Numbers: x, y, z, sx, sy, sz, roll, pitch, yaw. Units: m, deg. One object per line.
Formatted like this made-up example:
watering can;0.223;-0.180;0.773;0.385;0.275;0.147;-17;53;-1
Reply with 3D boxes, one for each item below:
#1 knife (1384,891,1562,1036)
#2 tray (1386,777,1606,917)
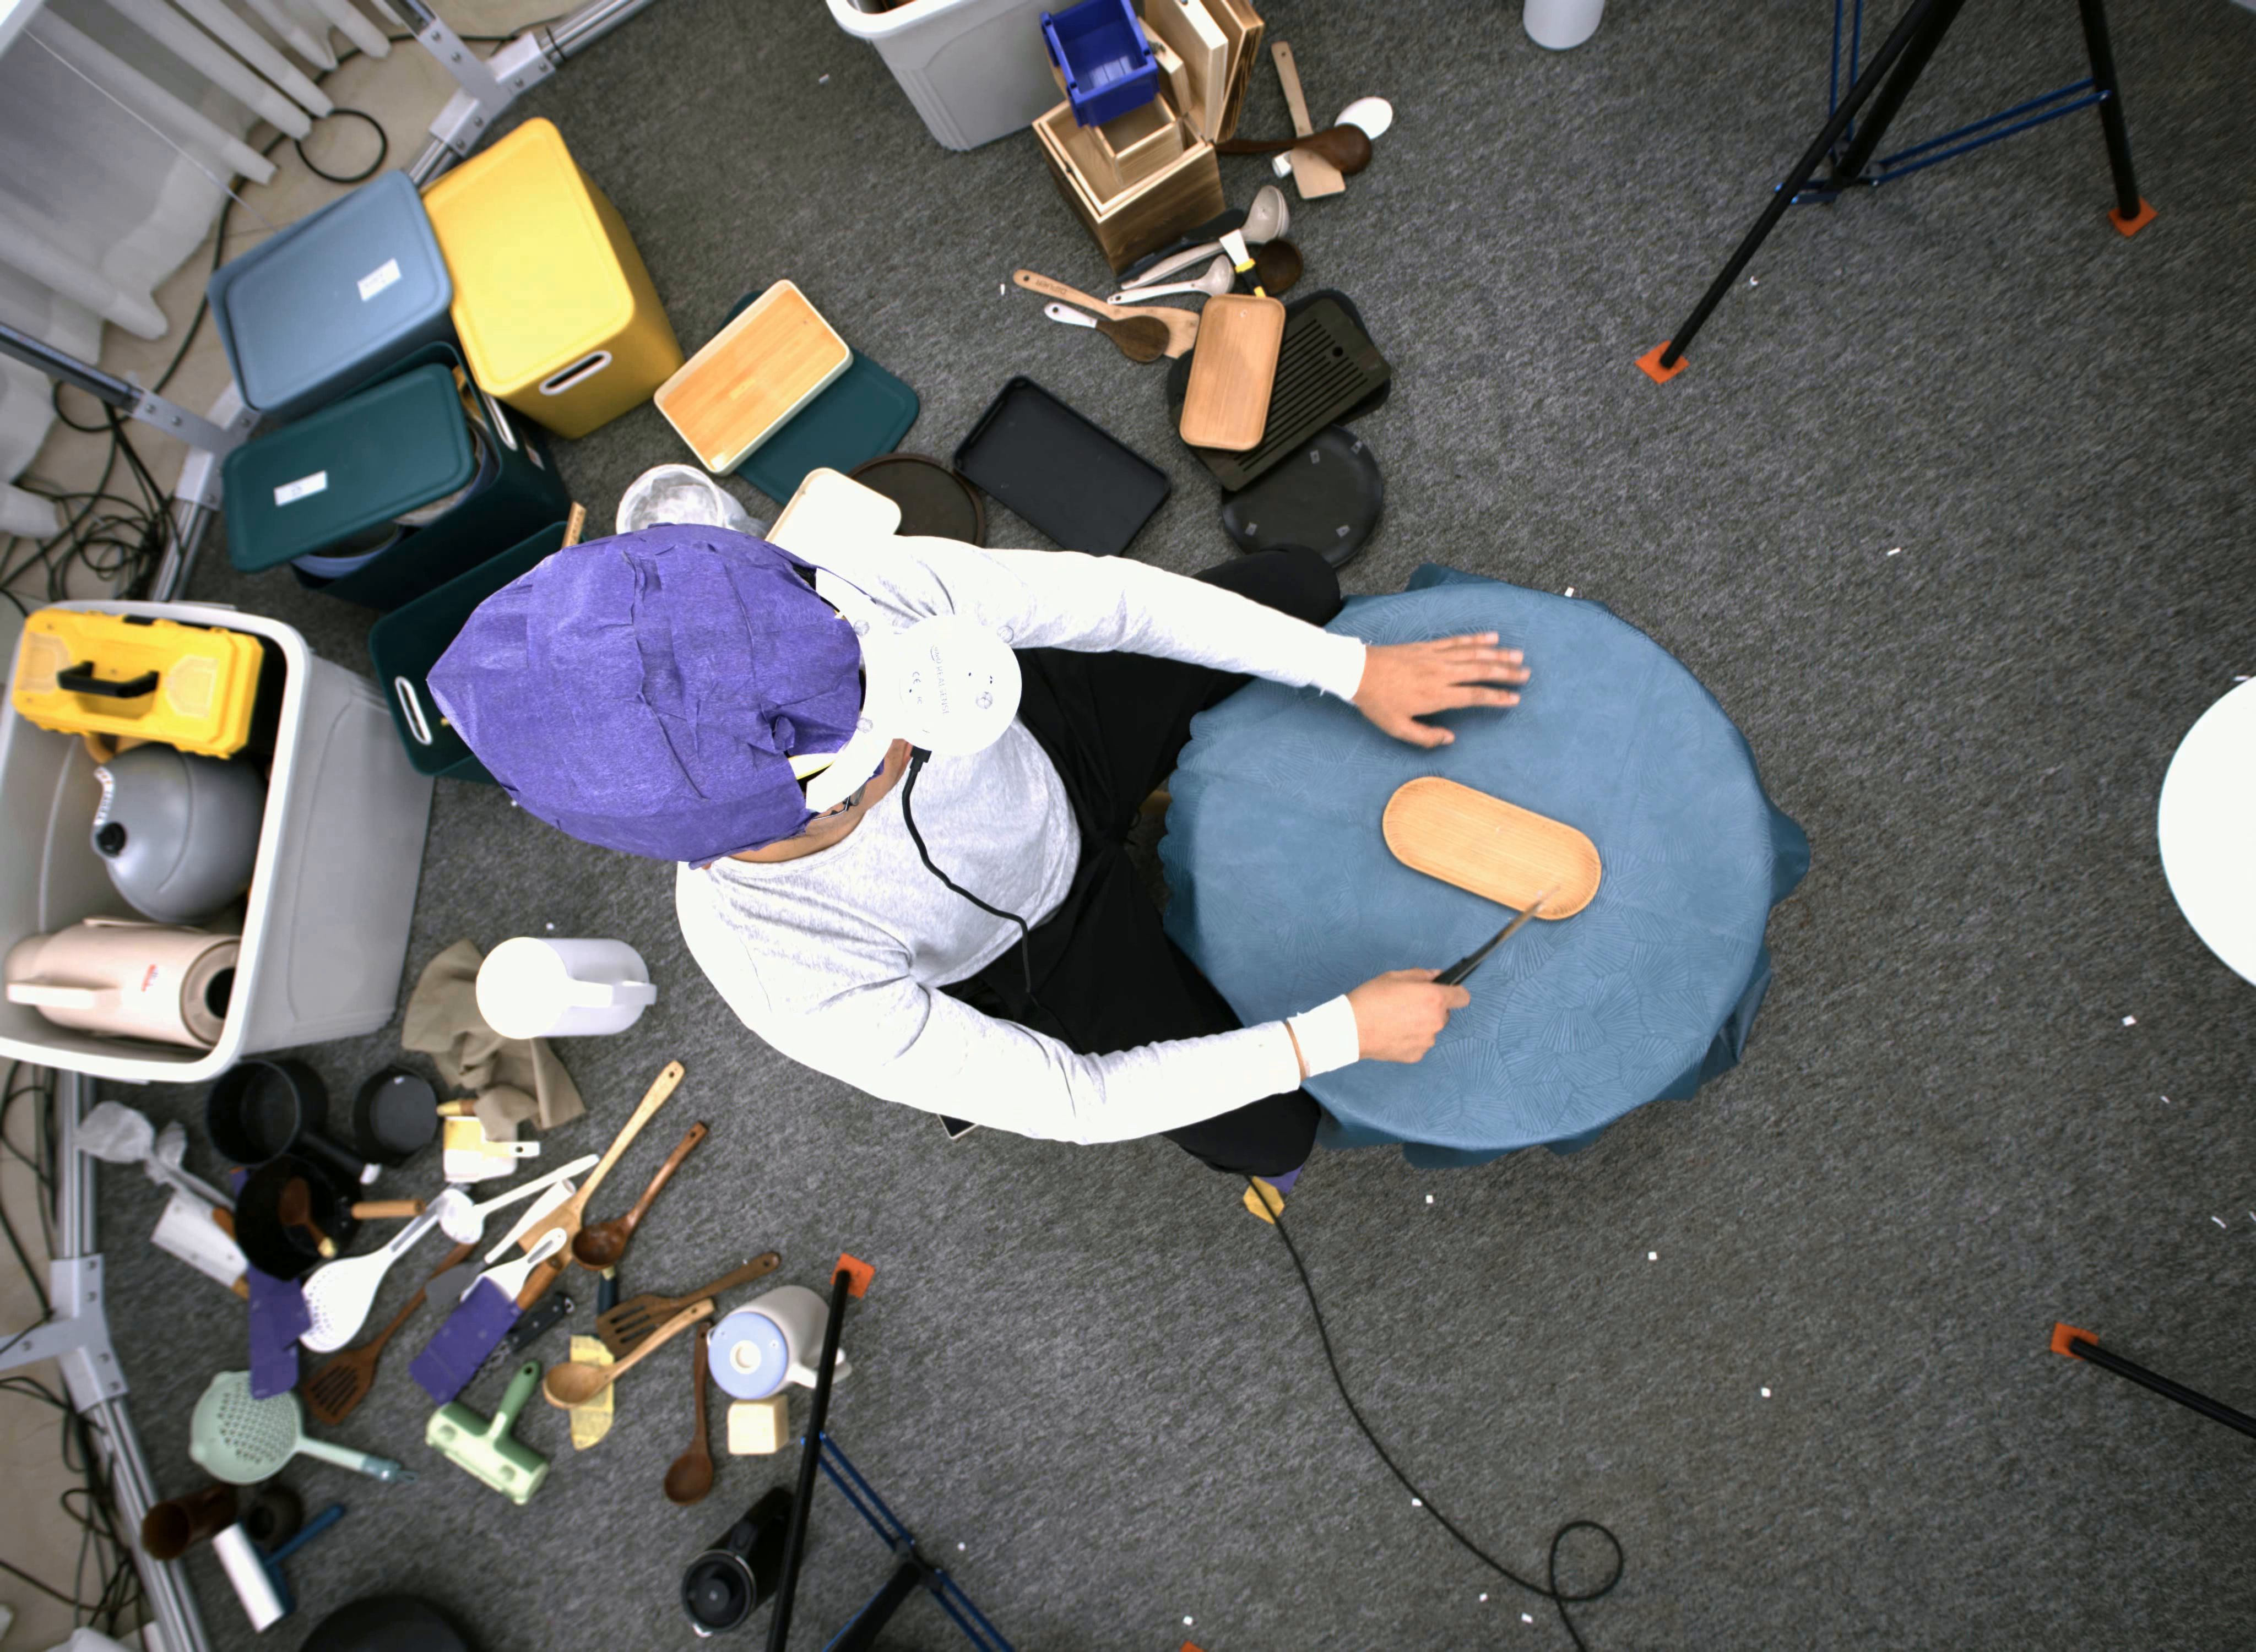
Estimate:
knife;0.349;0.132;1.371;0.236;0.024;0.016;-36;100;-10
tray;0.382;0.019;1.434;0.231;0.020;0.102;20;91;10
